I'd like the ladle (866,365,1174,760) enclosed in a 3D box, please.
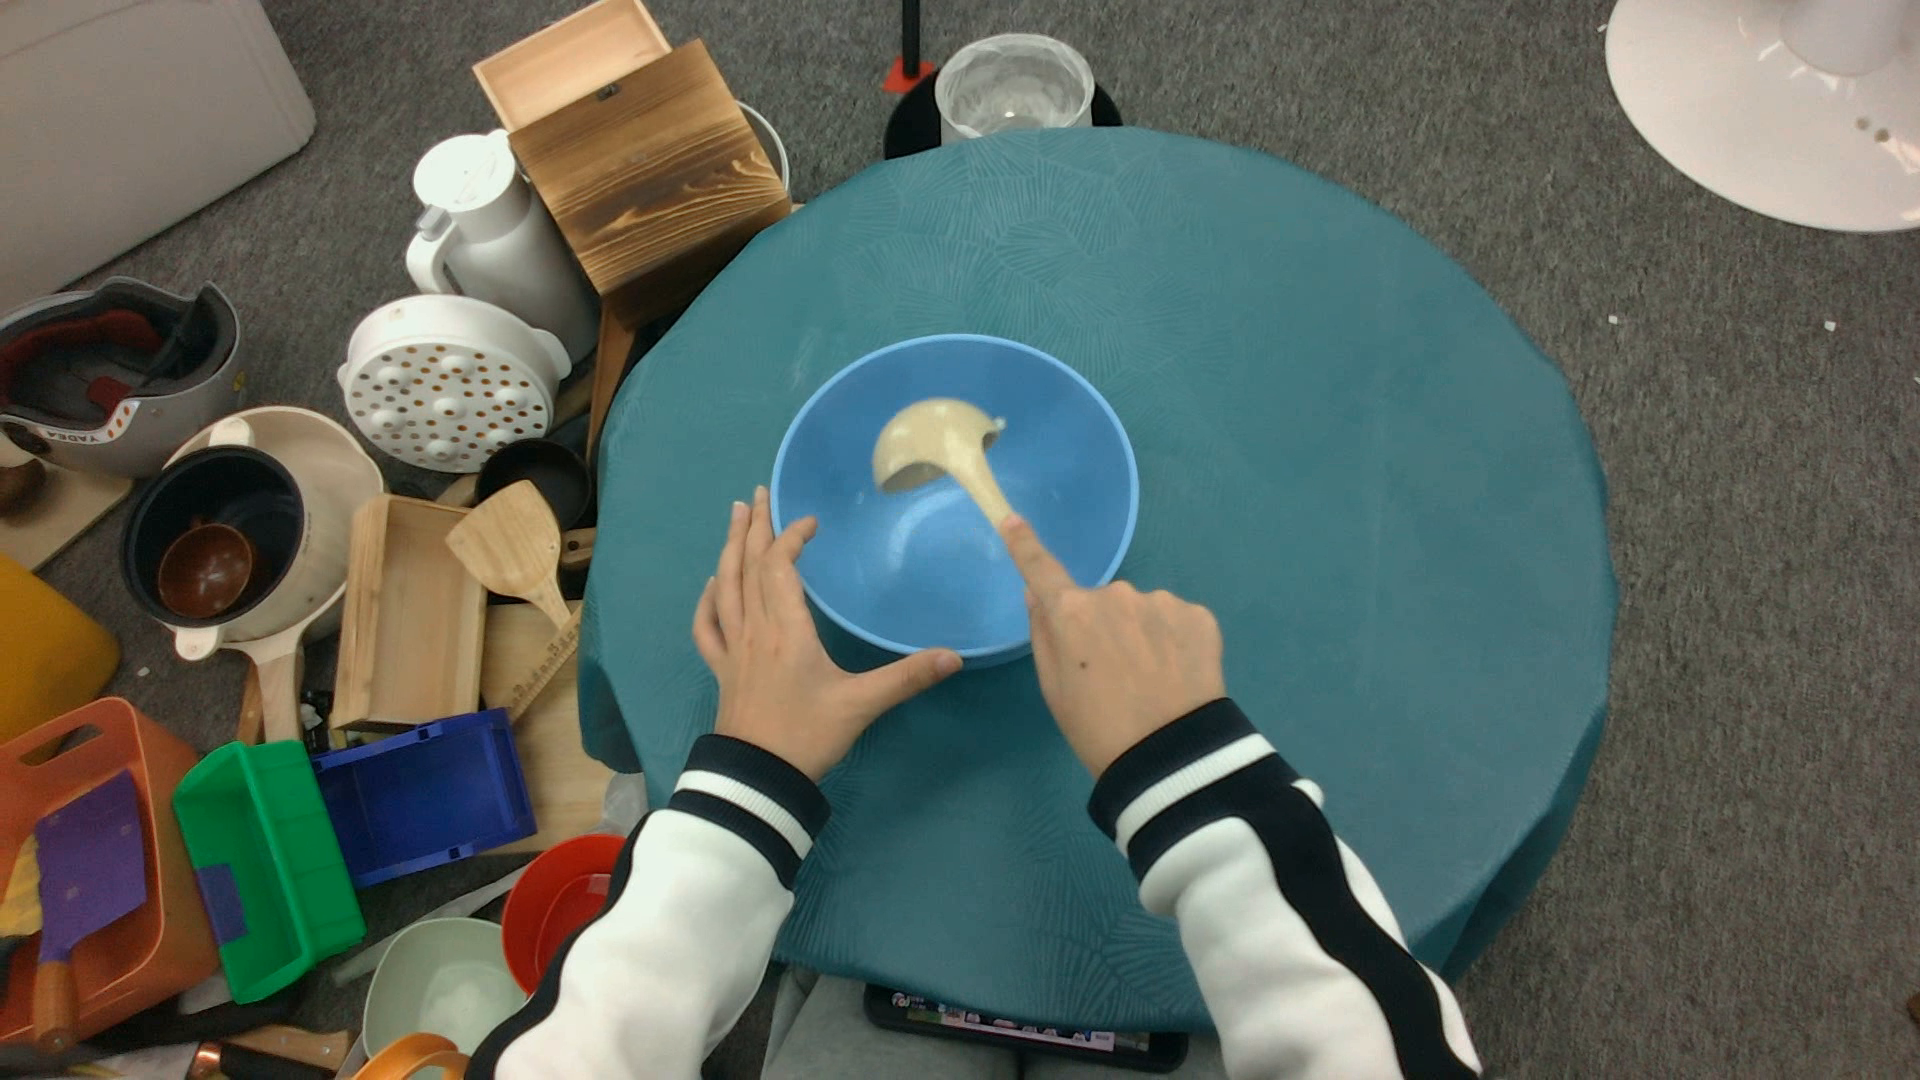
[{"bbox_3d":[0.029,0.016,0.671,0.072,0.072,0.255,-19,58,-19],"label":"ladle"}]

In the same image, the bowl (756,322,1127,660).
[{"bbox_3d":[-0.010,-0.015,0.770,0.196,0.095,0.197,0,64,0],"label":"bowl"}]
